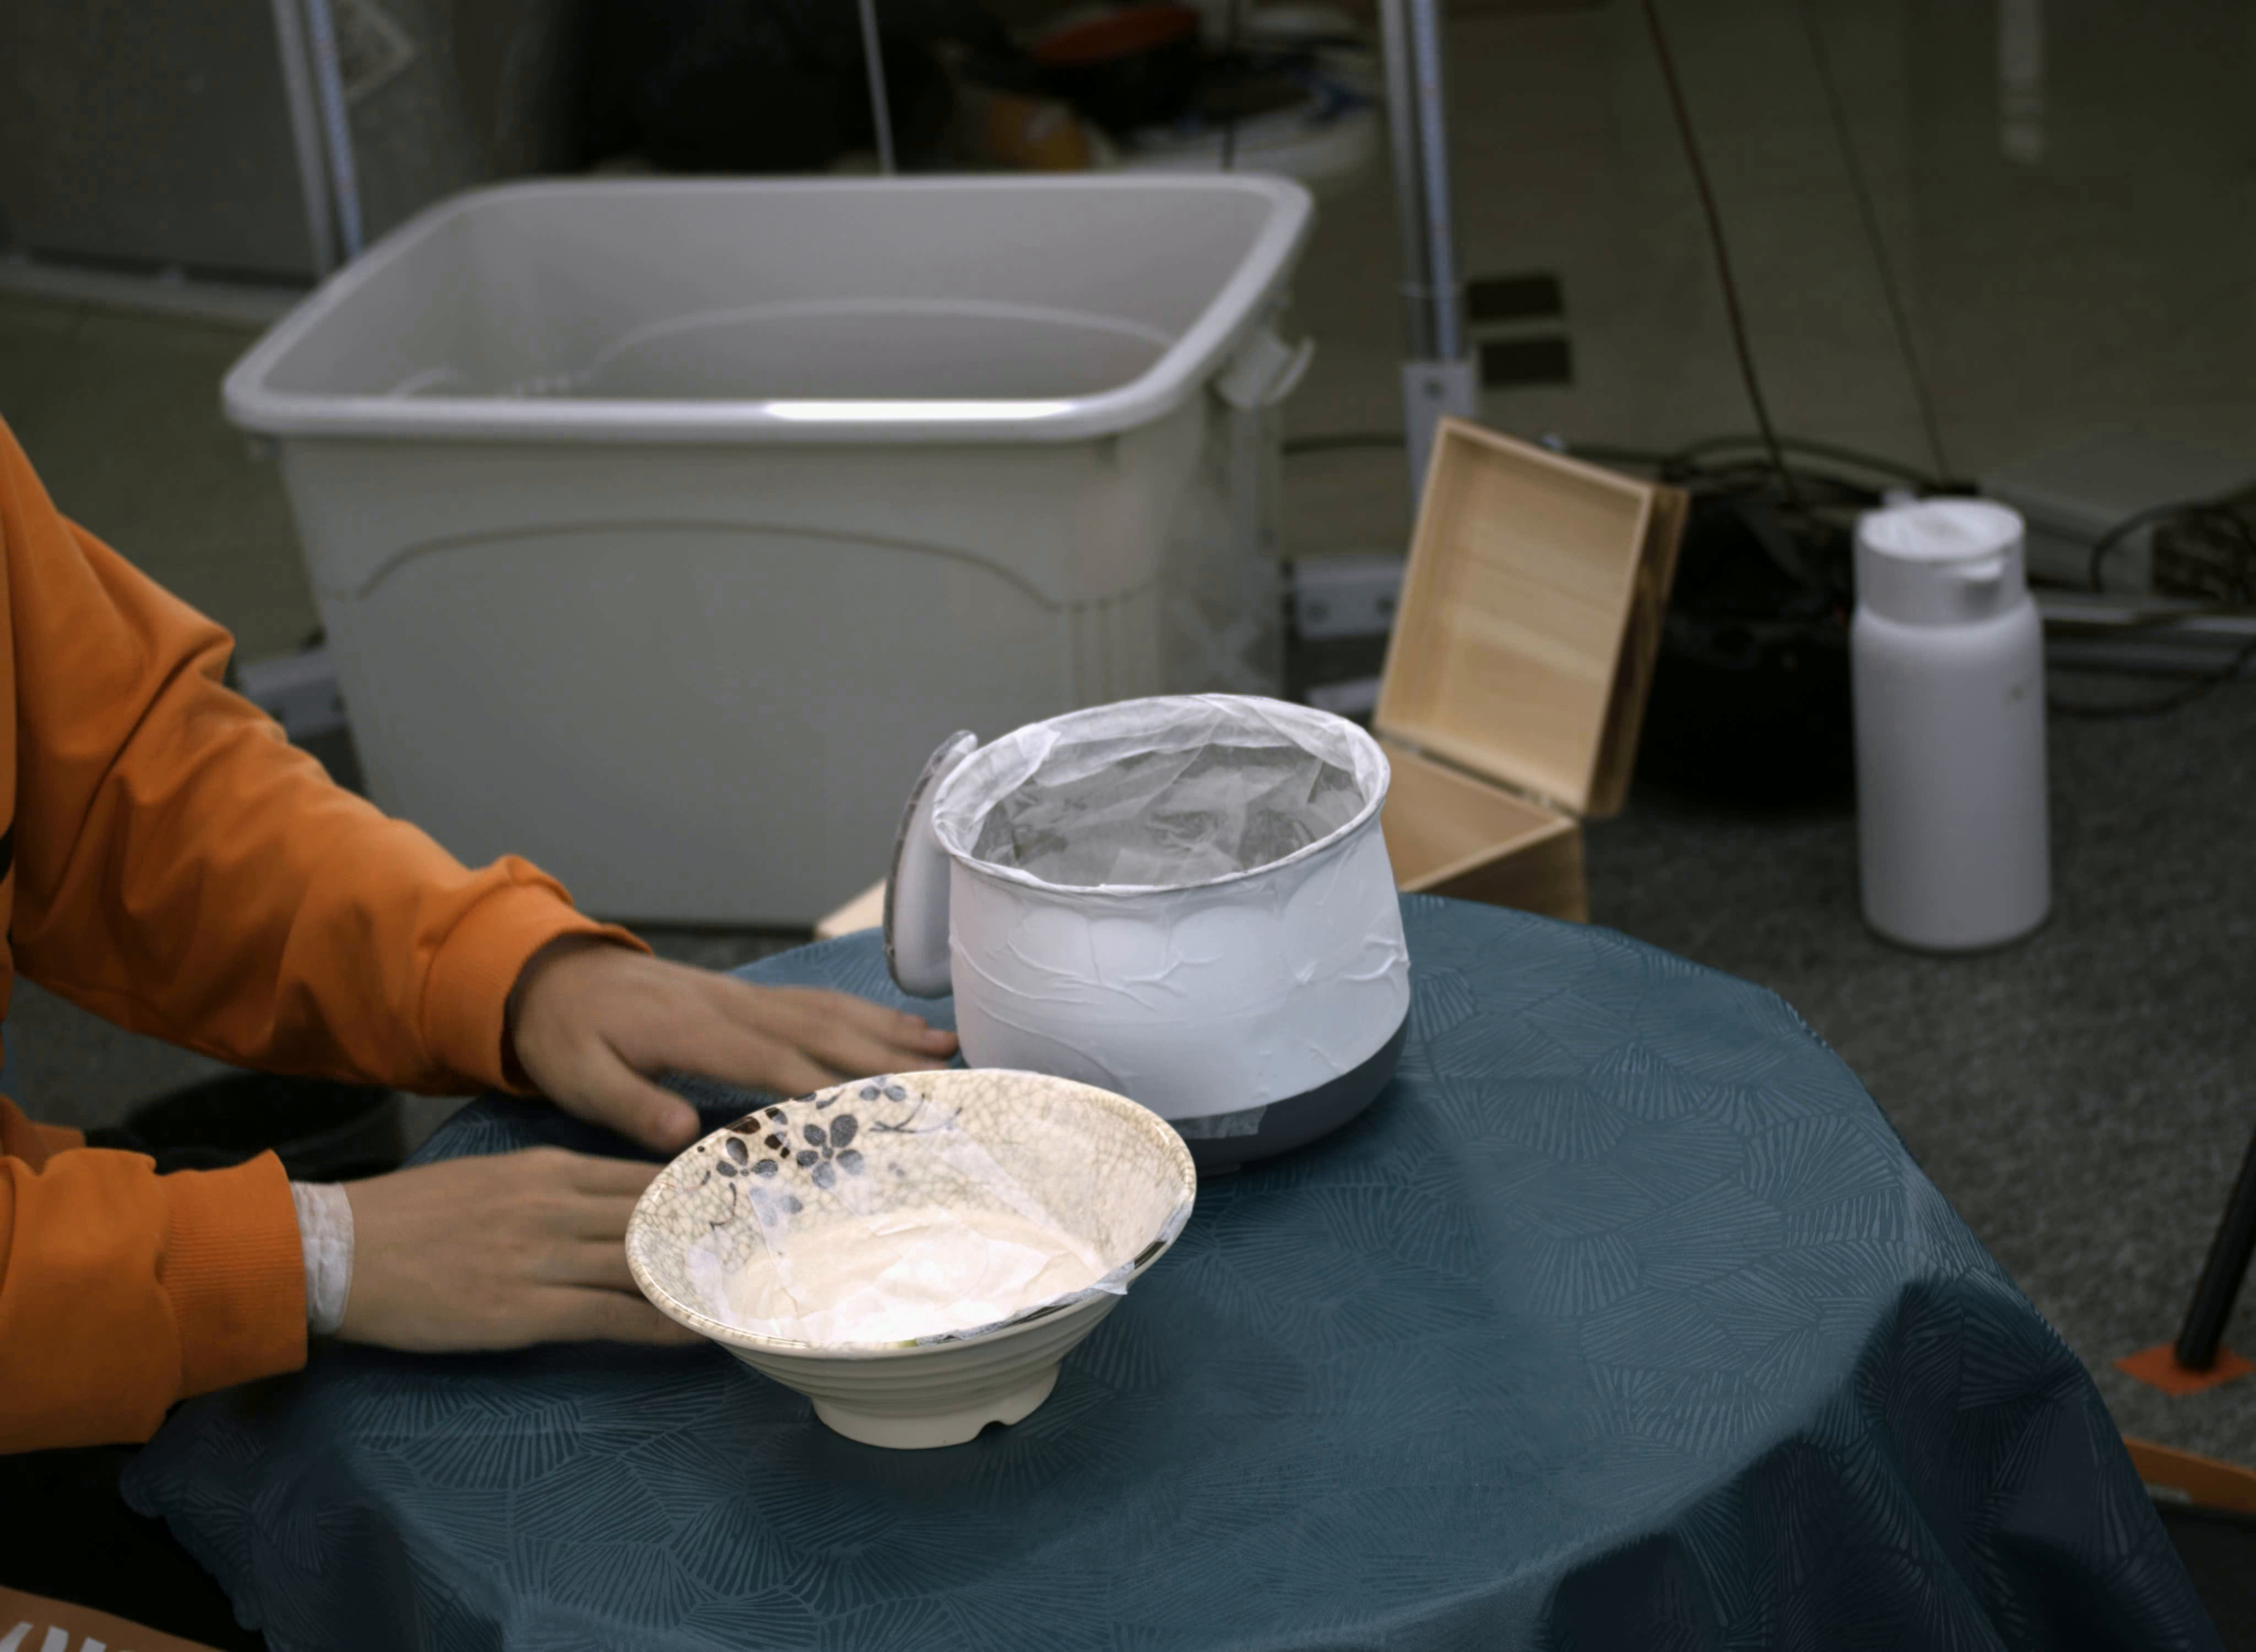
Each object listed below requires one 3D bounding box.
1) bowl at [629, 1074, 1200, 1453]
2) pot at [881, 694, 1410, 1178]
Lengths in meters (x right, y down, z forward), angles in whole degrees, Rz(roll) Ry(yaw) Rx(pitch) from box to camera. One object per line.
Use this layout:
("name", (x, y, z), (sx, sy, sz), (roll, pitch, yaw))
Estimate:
("bowl", (-0.071, 0.167, 2.014), (0.204, 0.079, 0.201), (-7, 25, 3))
("pot", (-0.004, 0.038, 2.199), (0.232, 0.139, 0.177), (13, 31, 35))
